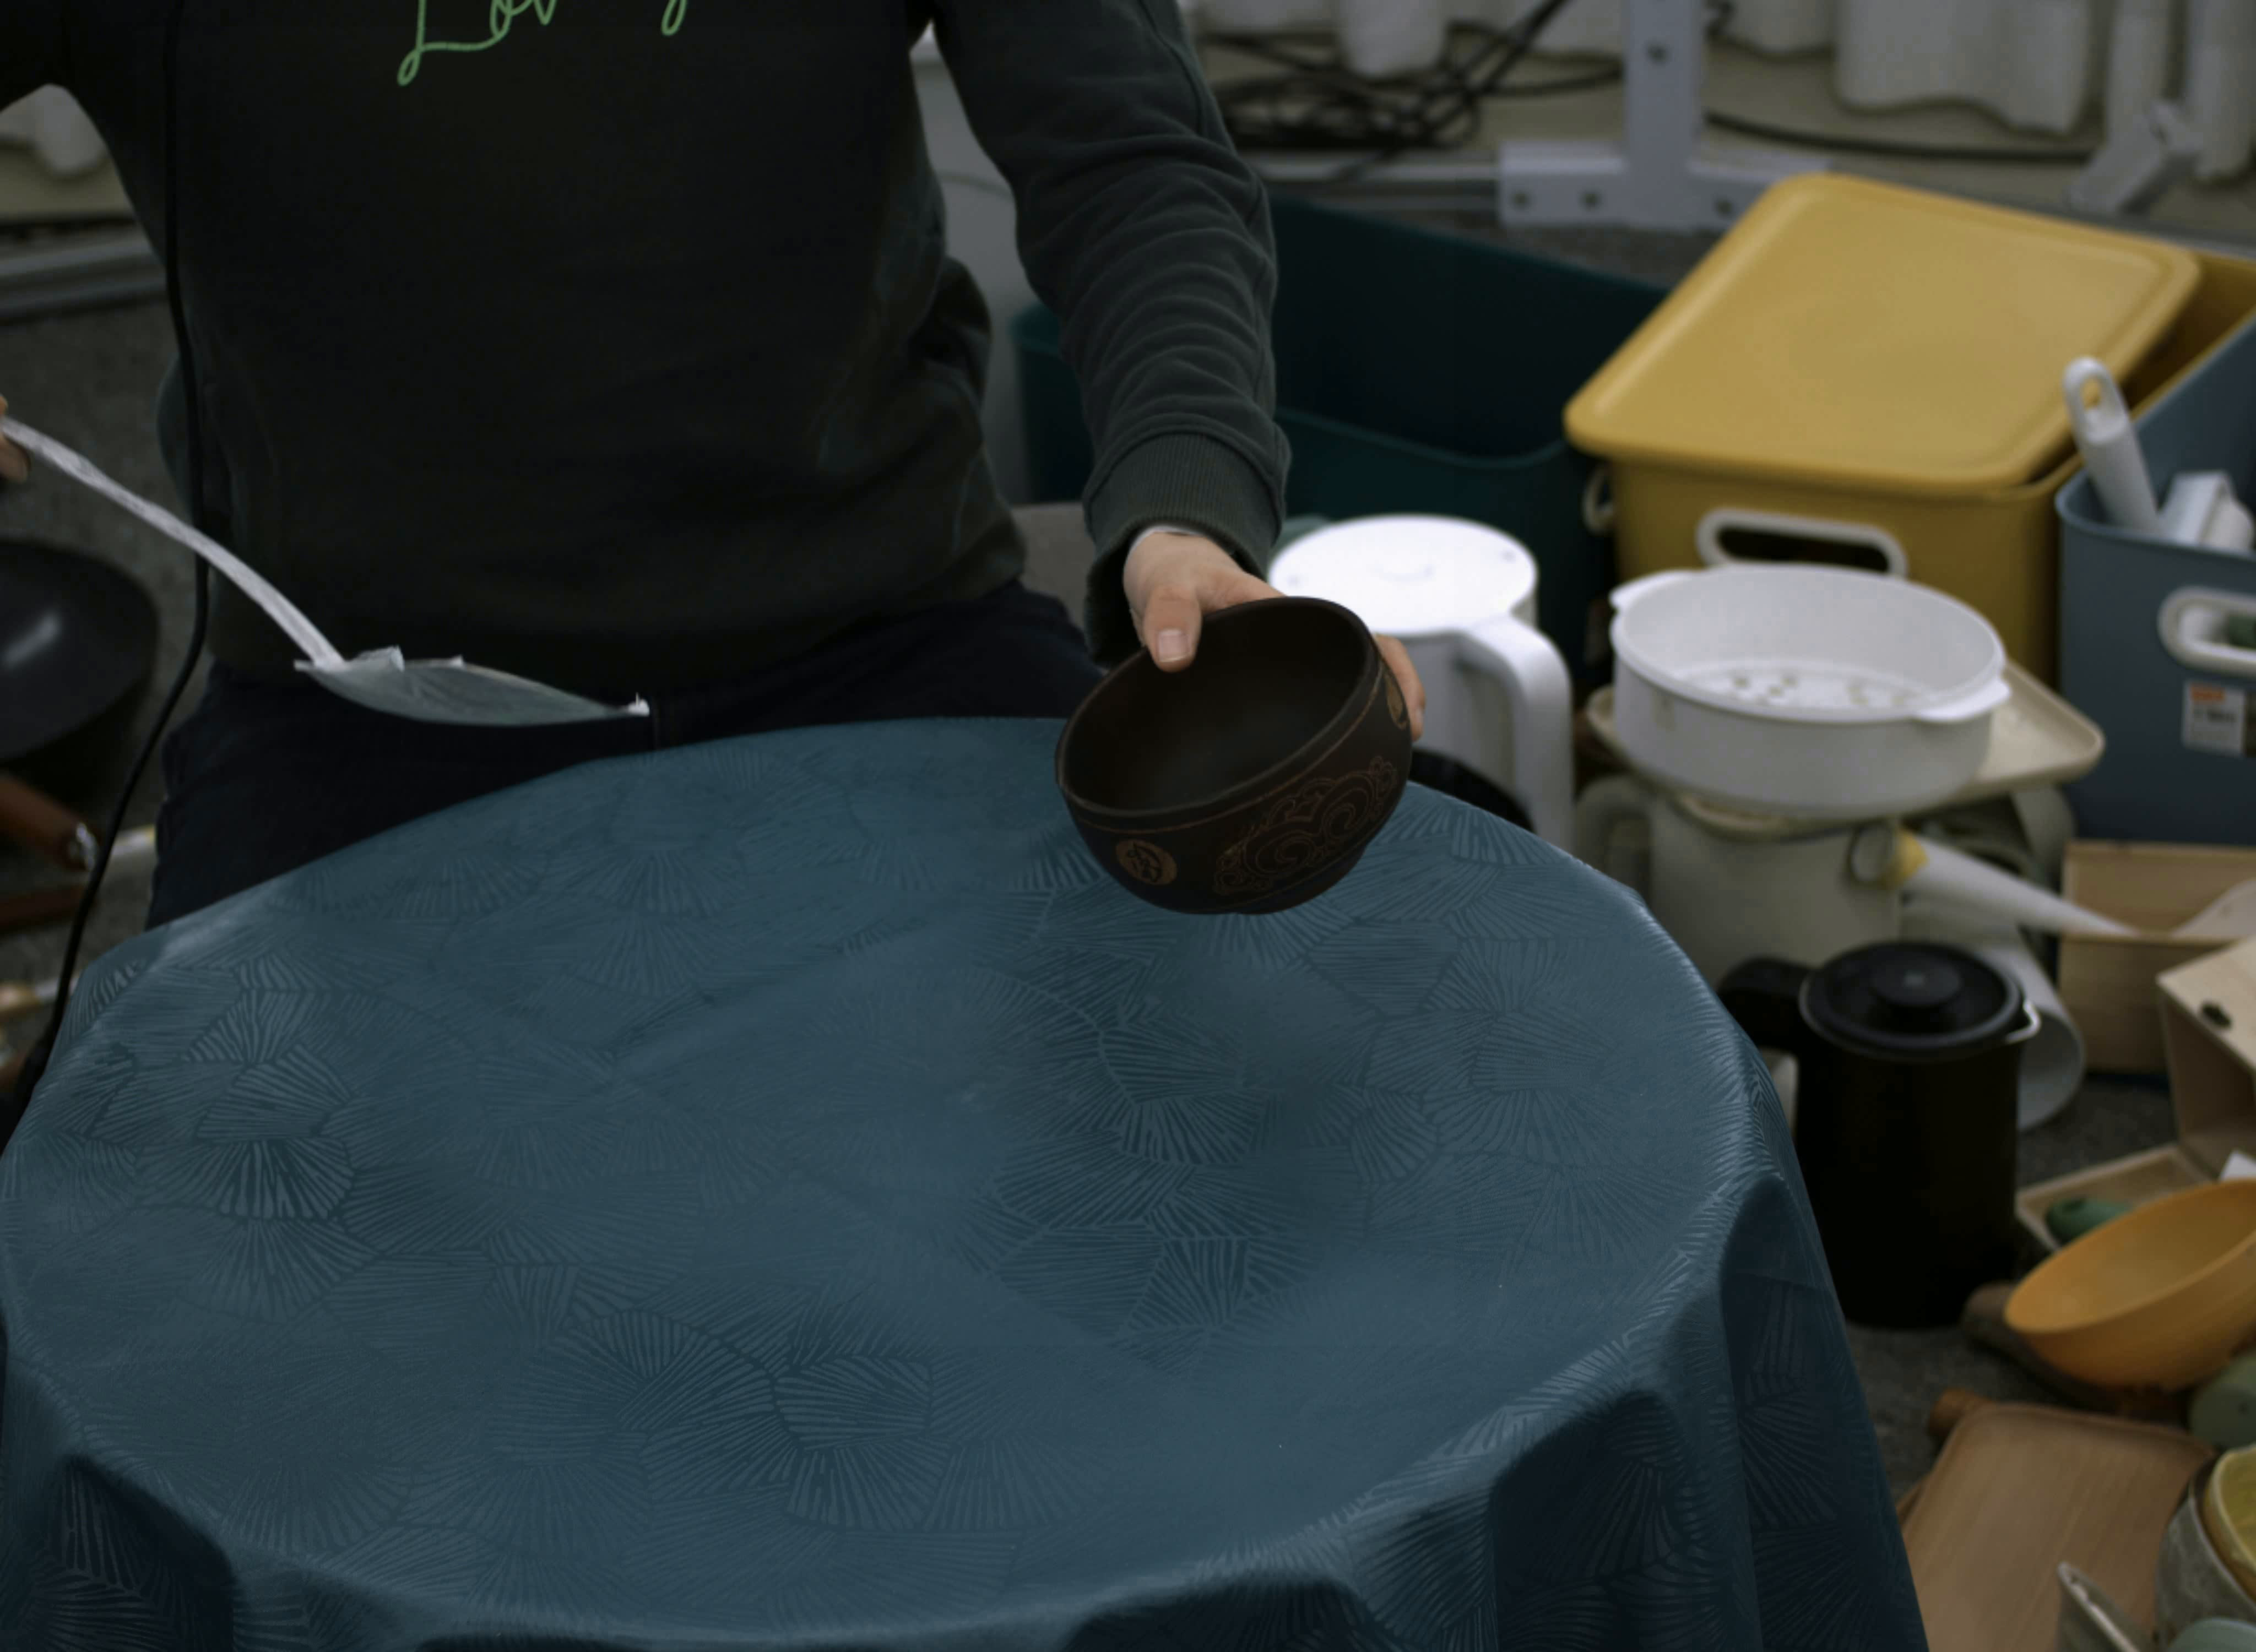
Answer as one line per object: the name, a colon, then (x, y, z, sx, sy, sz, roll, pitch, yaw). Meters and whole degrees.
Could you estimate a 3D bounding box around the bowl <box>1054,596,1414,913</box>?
bowl: (0.041, -0.015, 1.865, 0.117, 0.069, 0.120, -19, 29, 11)

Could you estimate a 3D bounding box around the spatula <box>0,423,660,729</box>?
spatula: (-0.304, -0.096, 1.851, 0.365, 0.044, 0.099, 30, 11, 34)
